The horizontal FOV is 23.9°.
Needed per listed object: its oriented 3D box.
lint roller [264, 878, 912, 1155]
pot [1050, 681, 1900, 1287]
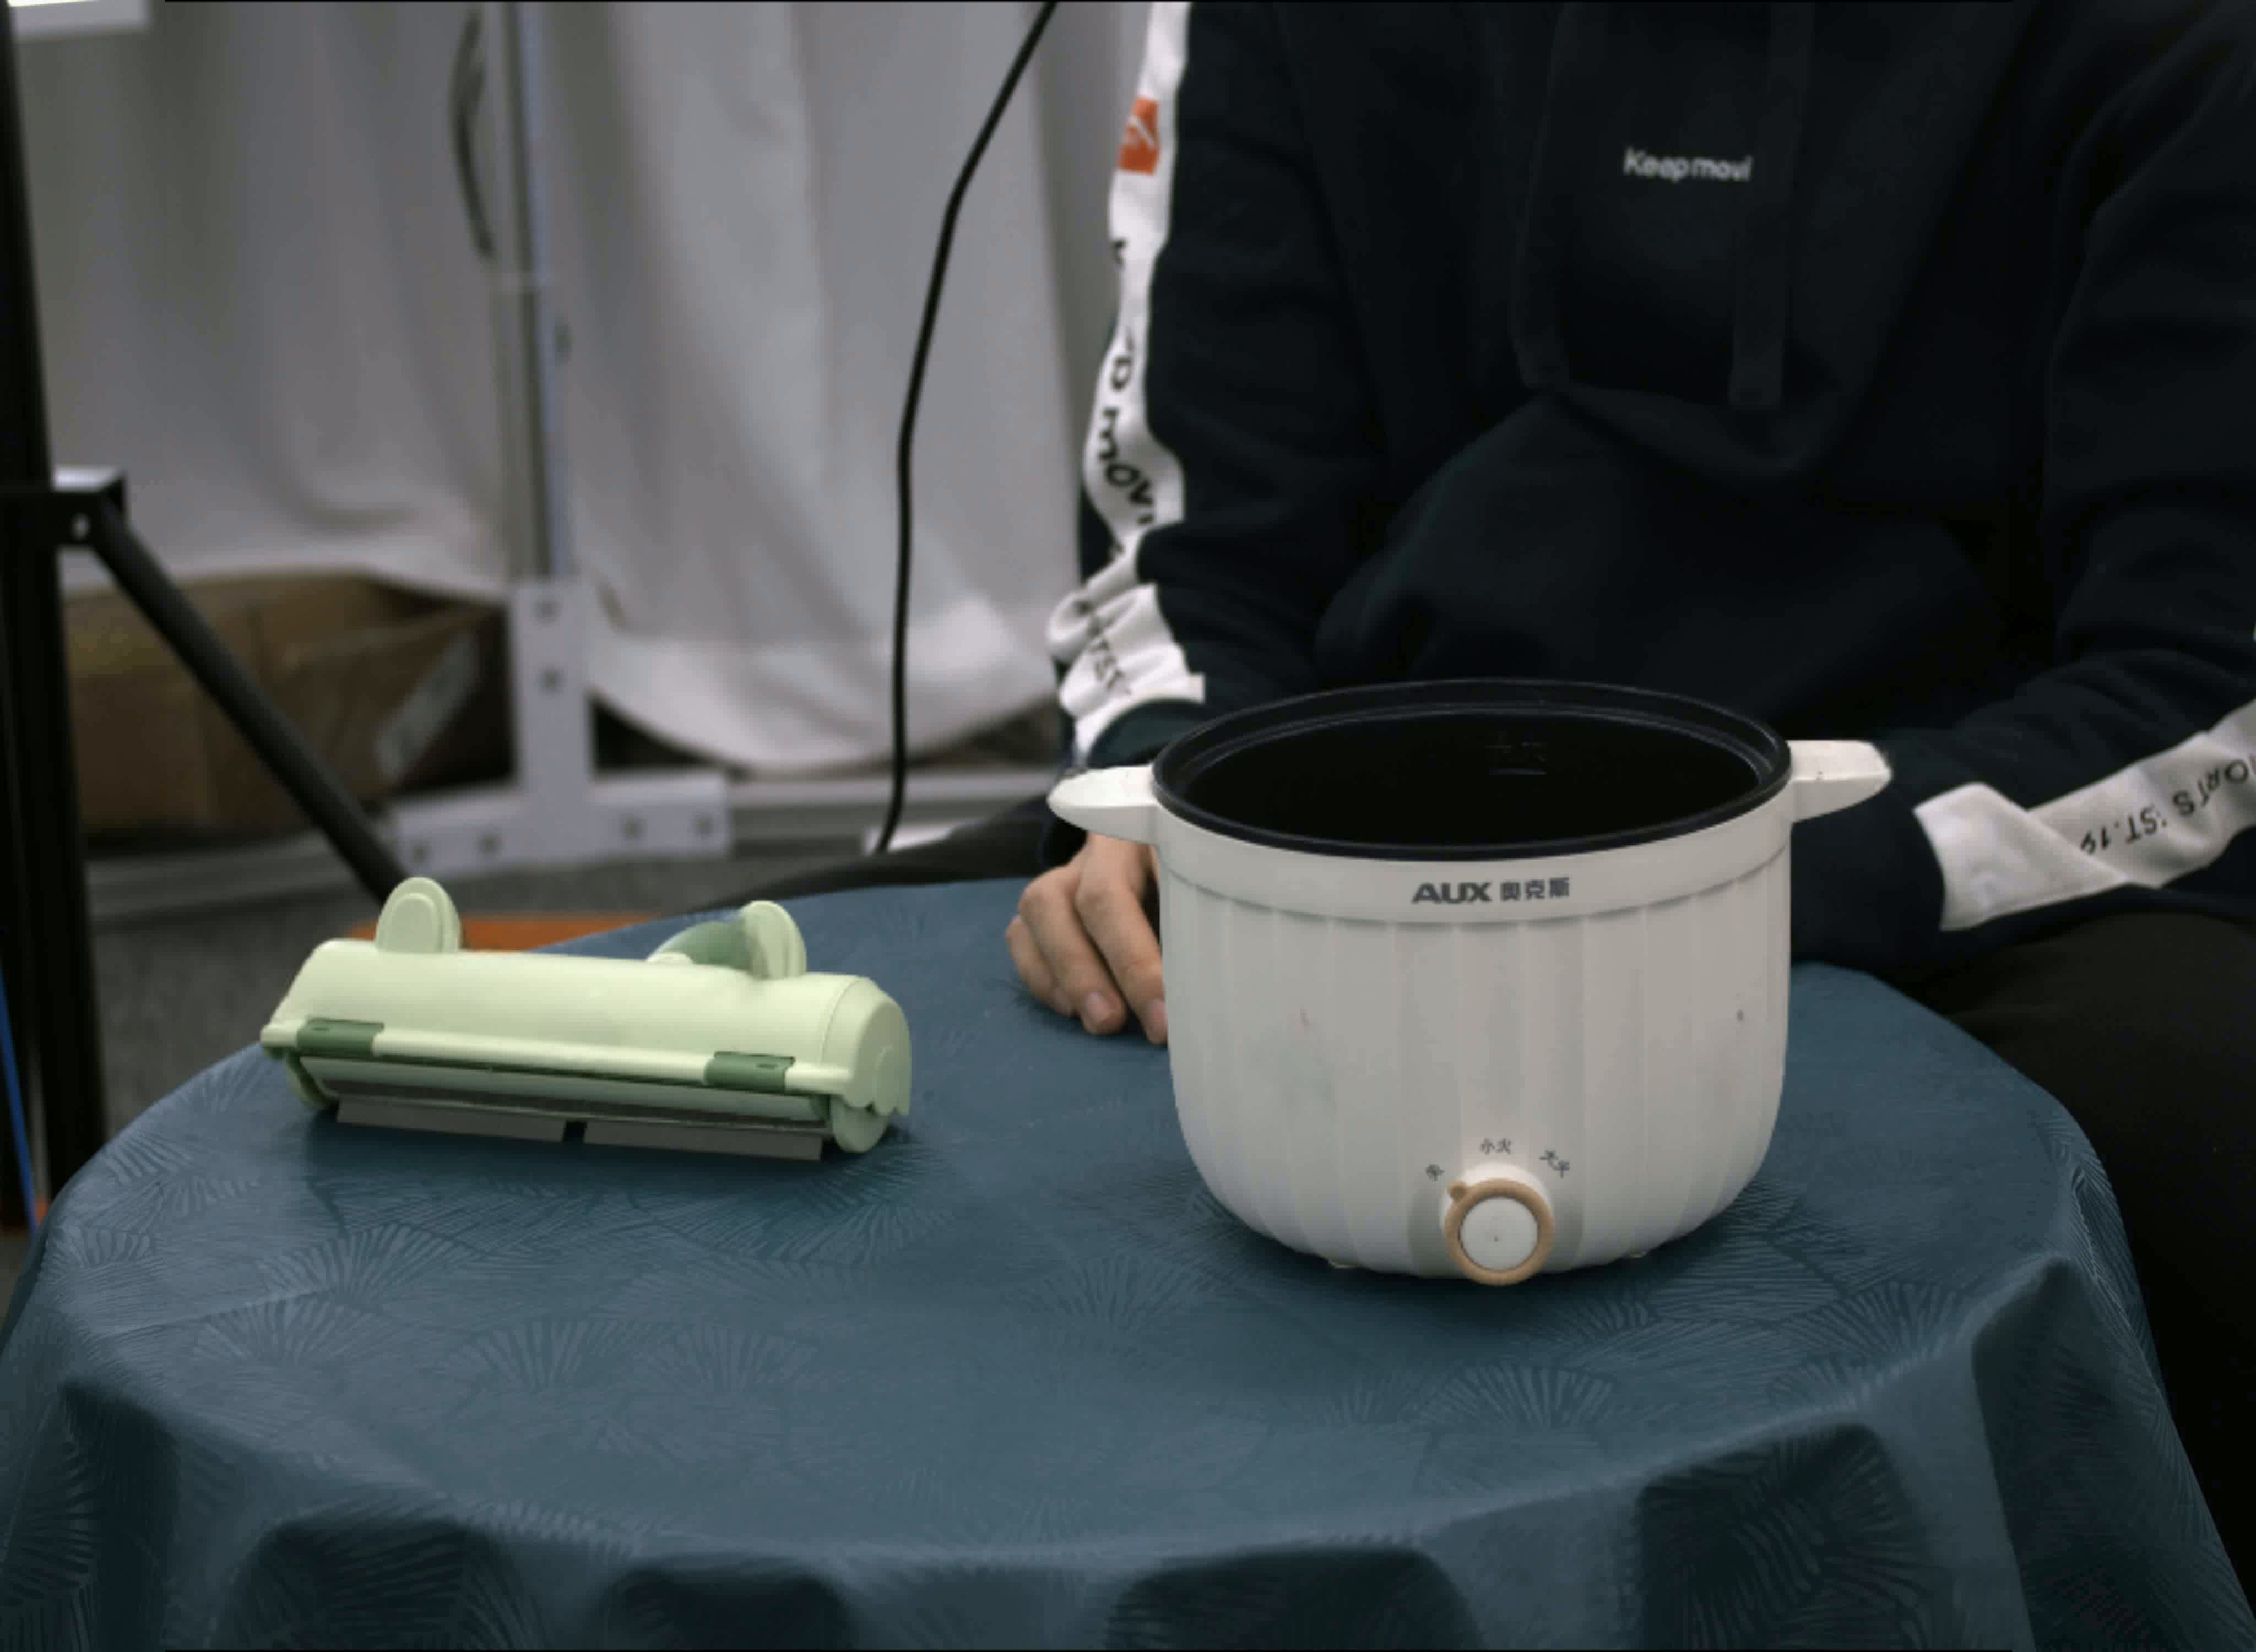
[{"bbox_3d":[-0.147,0.041,1.681,0.201,0.082,0.181,3,22,21],"label":"lint roller"},{"bbox_3d":[0.101,0.047,1.504,0.240,0.143,0.191,-3,12,2],"label":"pot"}]
